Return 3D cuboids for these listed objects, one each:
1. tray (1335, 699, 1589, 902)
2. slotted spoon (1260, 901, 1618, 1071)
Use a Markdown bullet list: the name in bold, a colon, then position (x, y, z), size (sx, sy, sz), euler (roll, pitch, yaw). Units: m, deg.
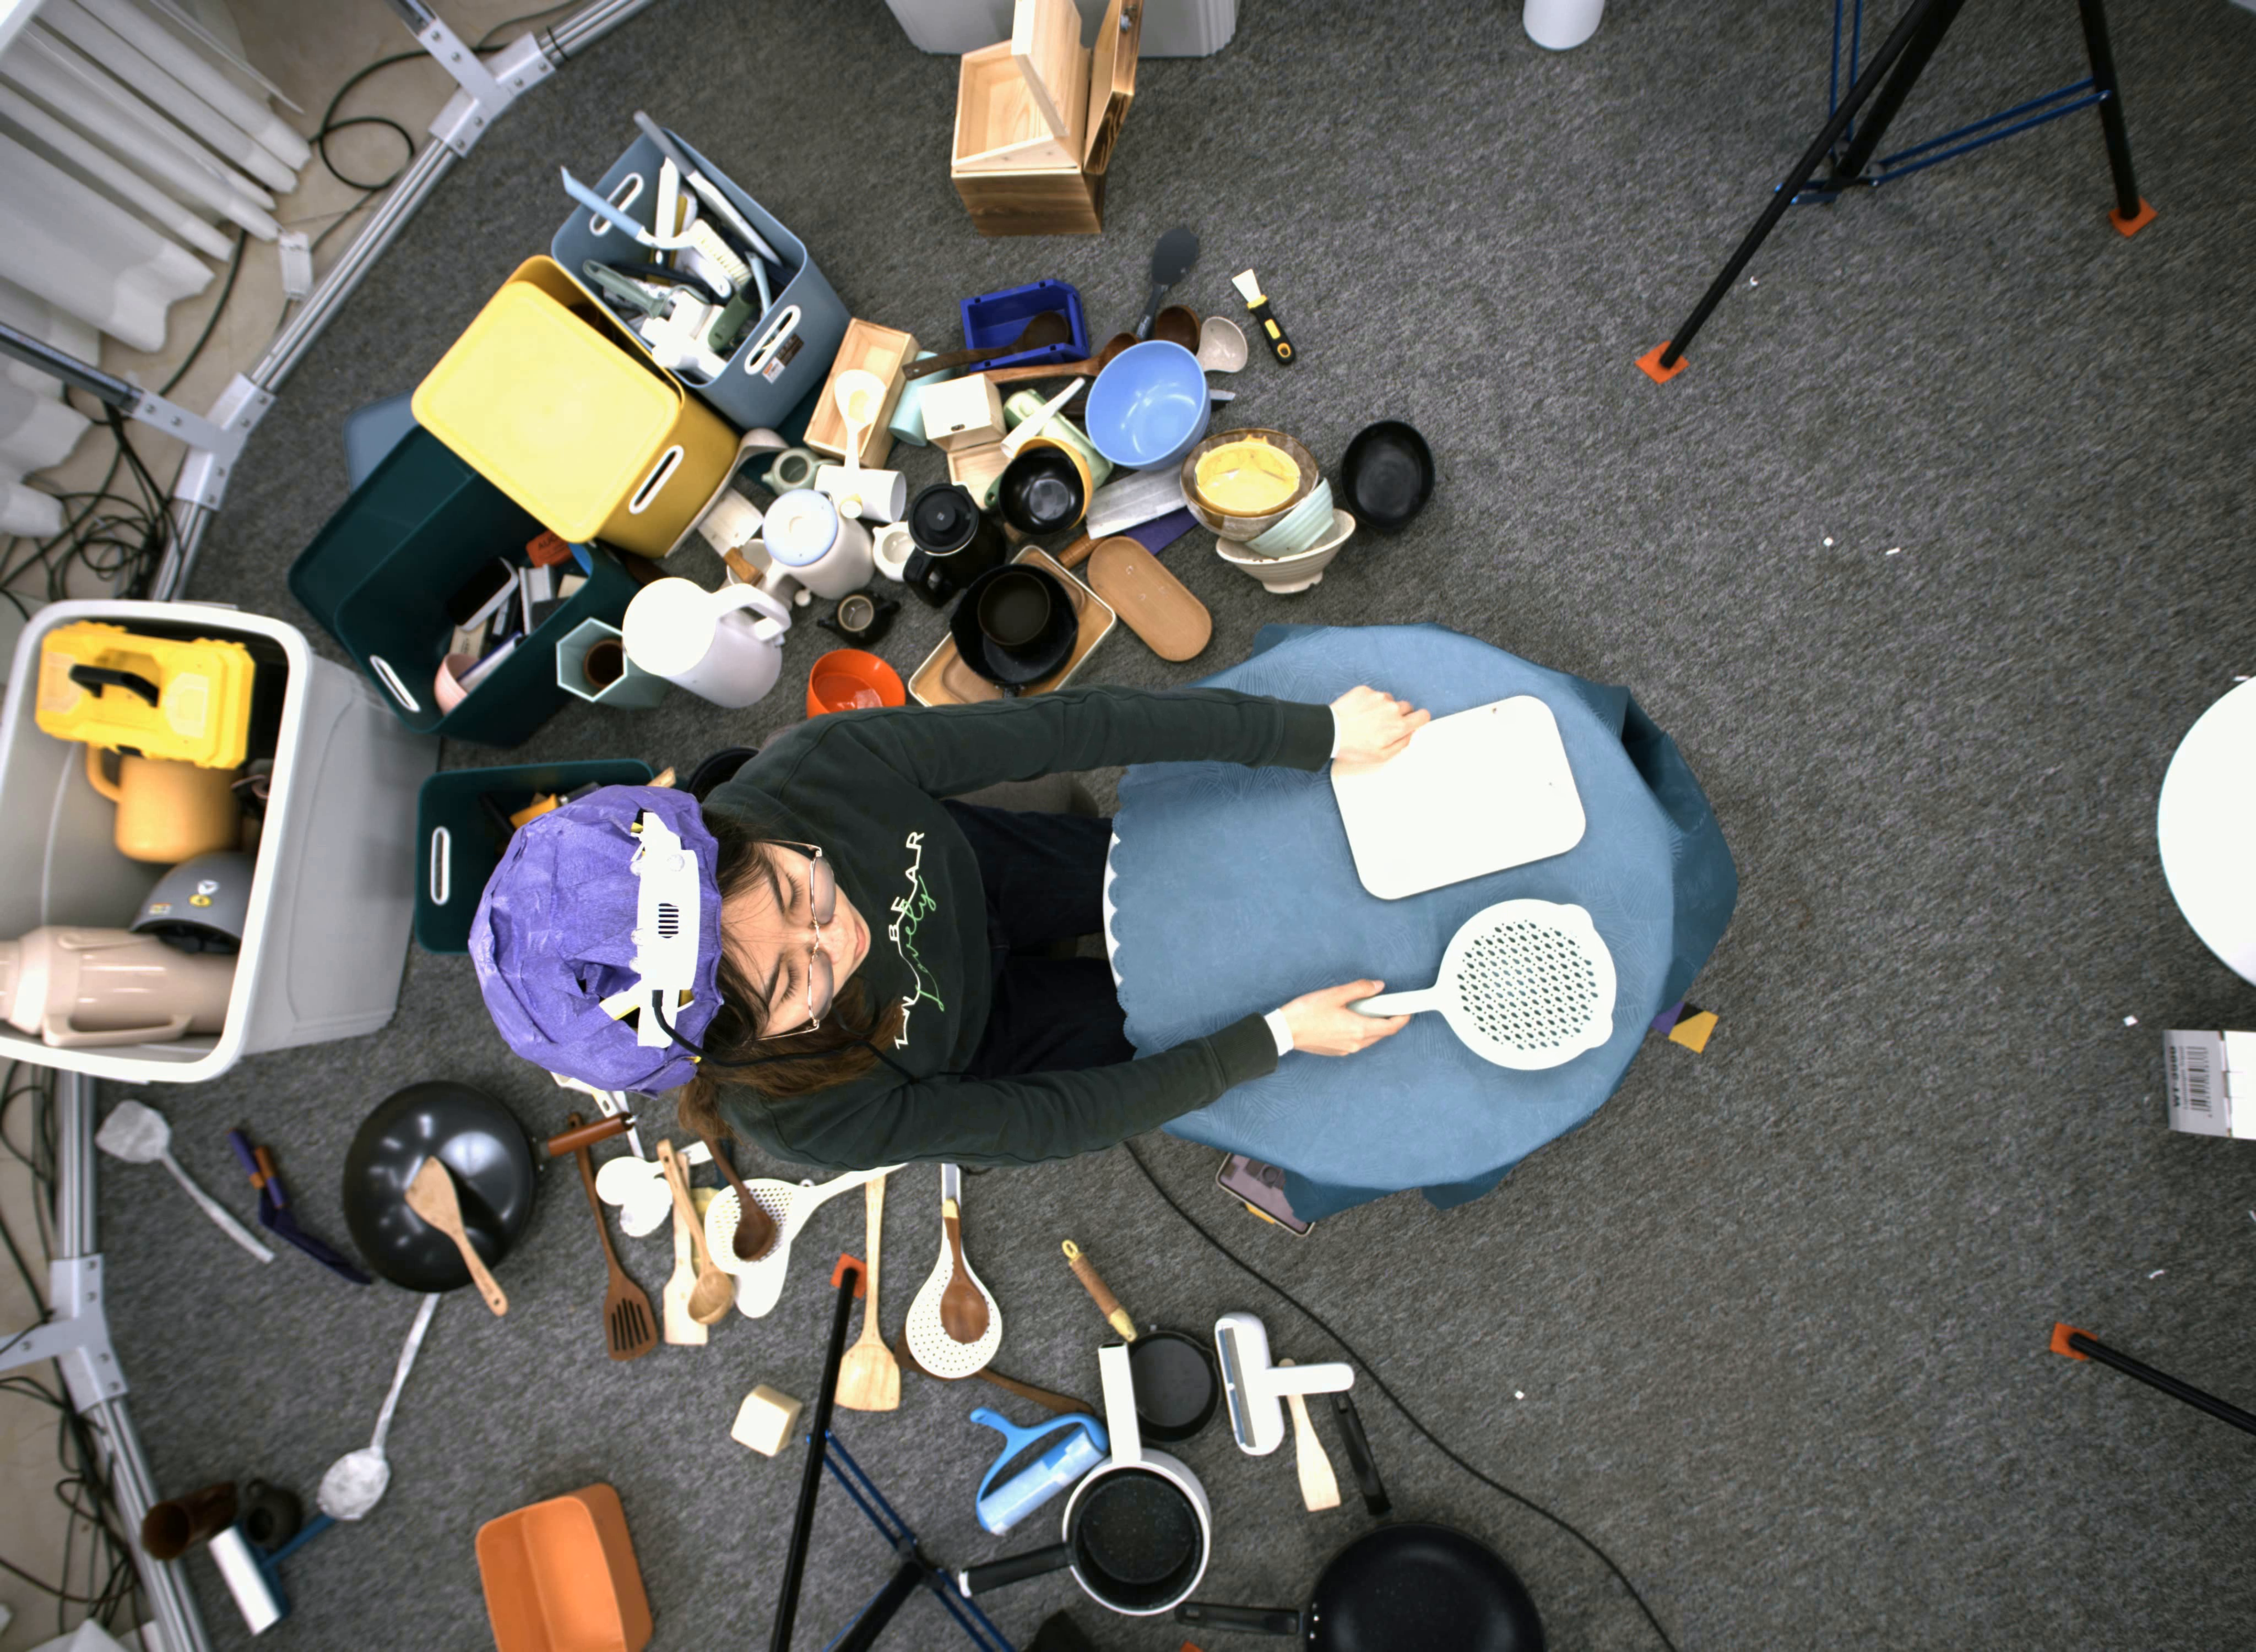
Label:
- **tray**: position (0.349, -0.028, 1.447), size (0.241, 0.017, 0.170), euler (-16, 85, 9)
- **slotted spoon**: position (0.312, 0.177, 1.415), size (0.360, 0.076, 0.167), euler (-9, 78, 8)
